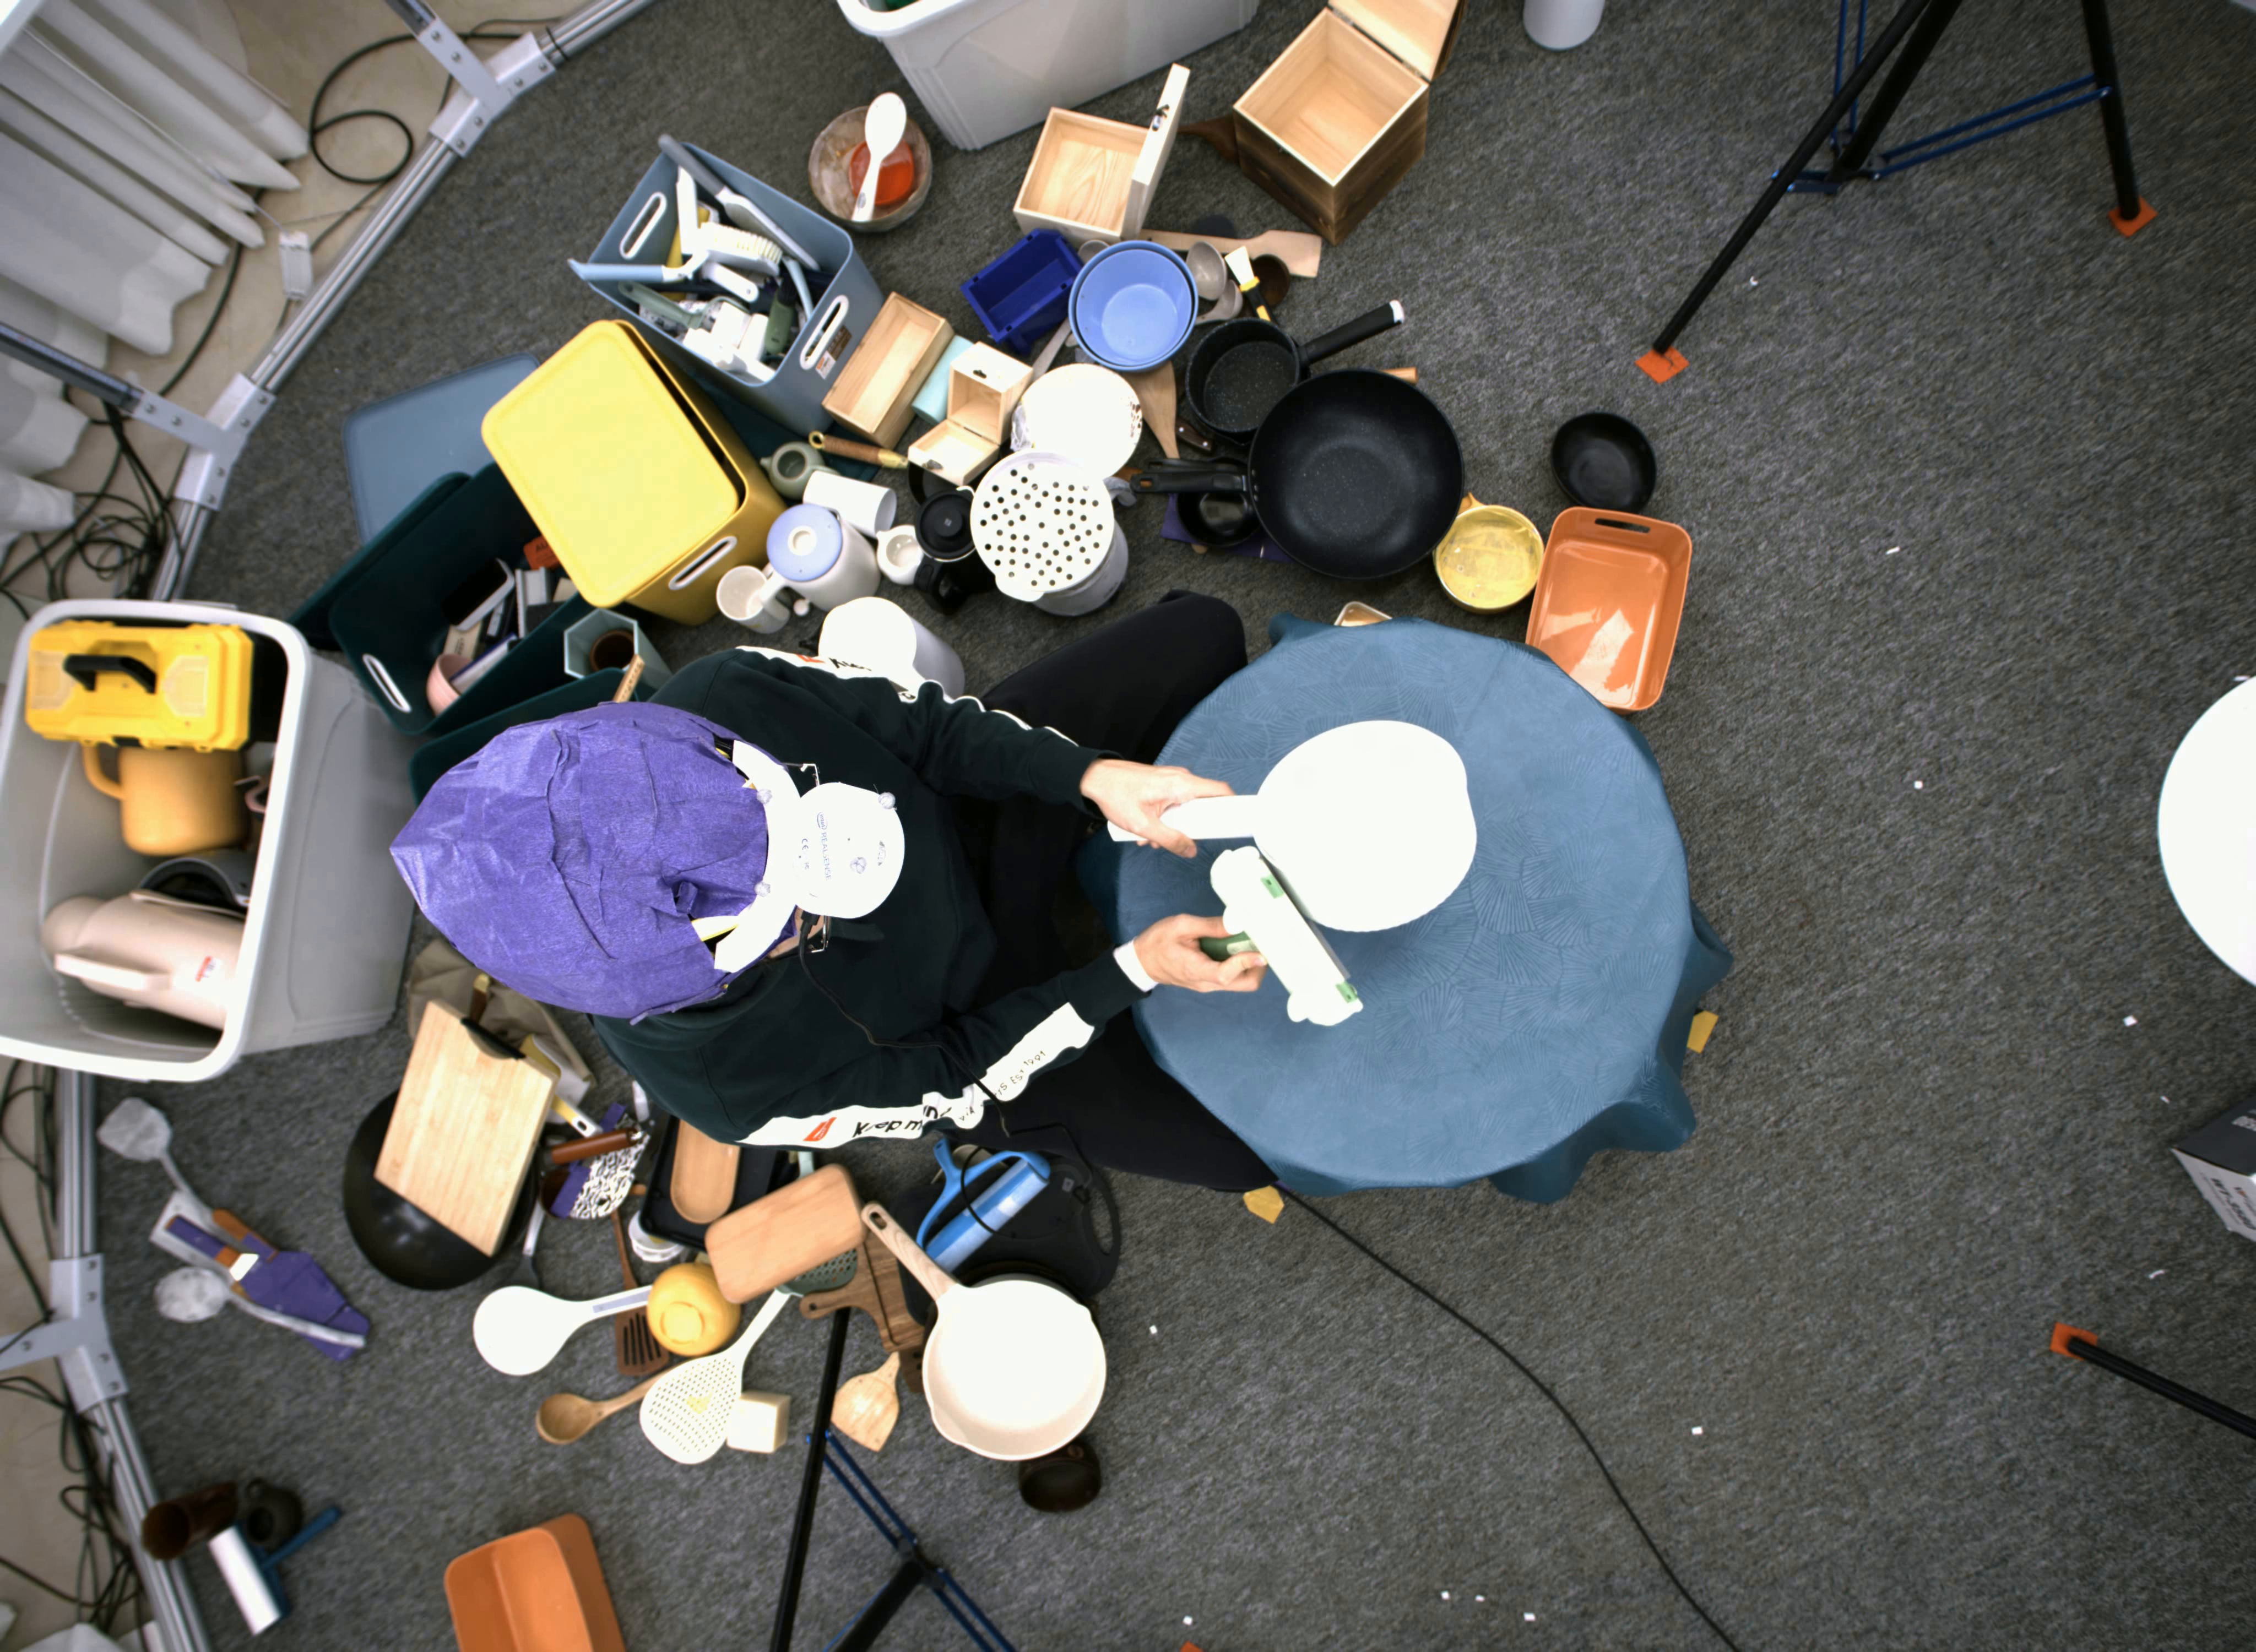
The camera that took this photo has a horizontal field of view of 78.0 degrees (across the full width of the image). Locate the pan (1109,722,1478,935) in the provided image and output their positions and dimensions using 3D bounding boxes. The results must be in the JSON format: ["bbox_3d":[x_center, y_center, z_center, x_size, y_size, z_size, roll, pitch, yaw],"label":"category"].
[{"bbox_3d":[0.158,0.010,1.331,0.358,0.104,0.196,-4,49,28],"label":"pan"}]

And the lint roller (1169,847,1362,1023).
[{"bbox_3d":[0.102,0.121,1.324,0.186,0.080,0.201,-17,122,38],"label":"lint roller"}]
